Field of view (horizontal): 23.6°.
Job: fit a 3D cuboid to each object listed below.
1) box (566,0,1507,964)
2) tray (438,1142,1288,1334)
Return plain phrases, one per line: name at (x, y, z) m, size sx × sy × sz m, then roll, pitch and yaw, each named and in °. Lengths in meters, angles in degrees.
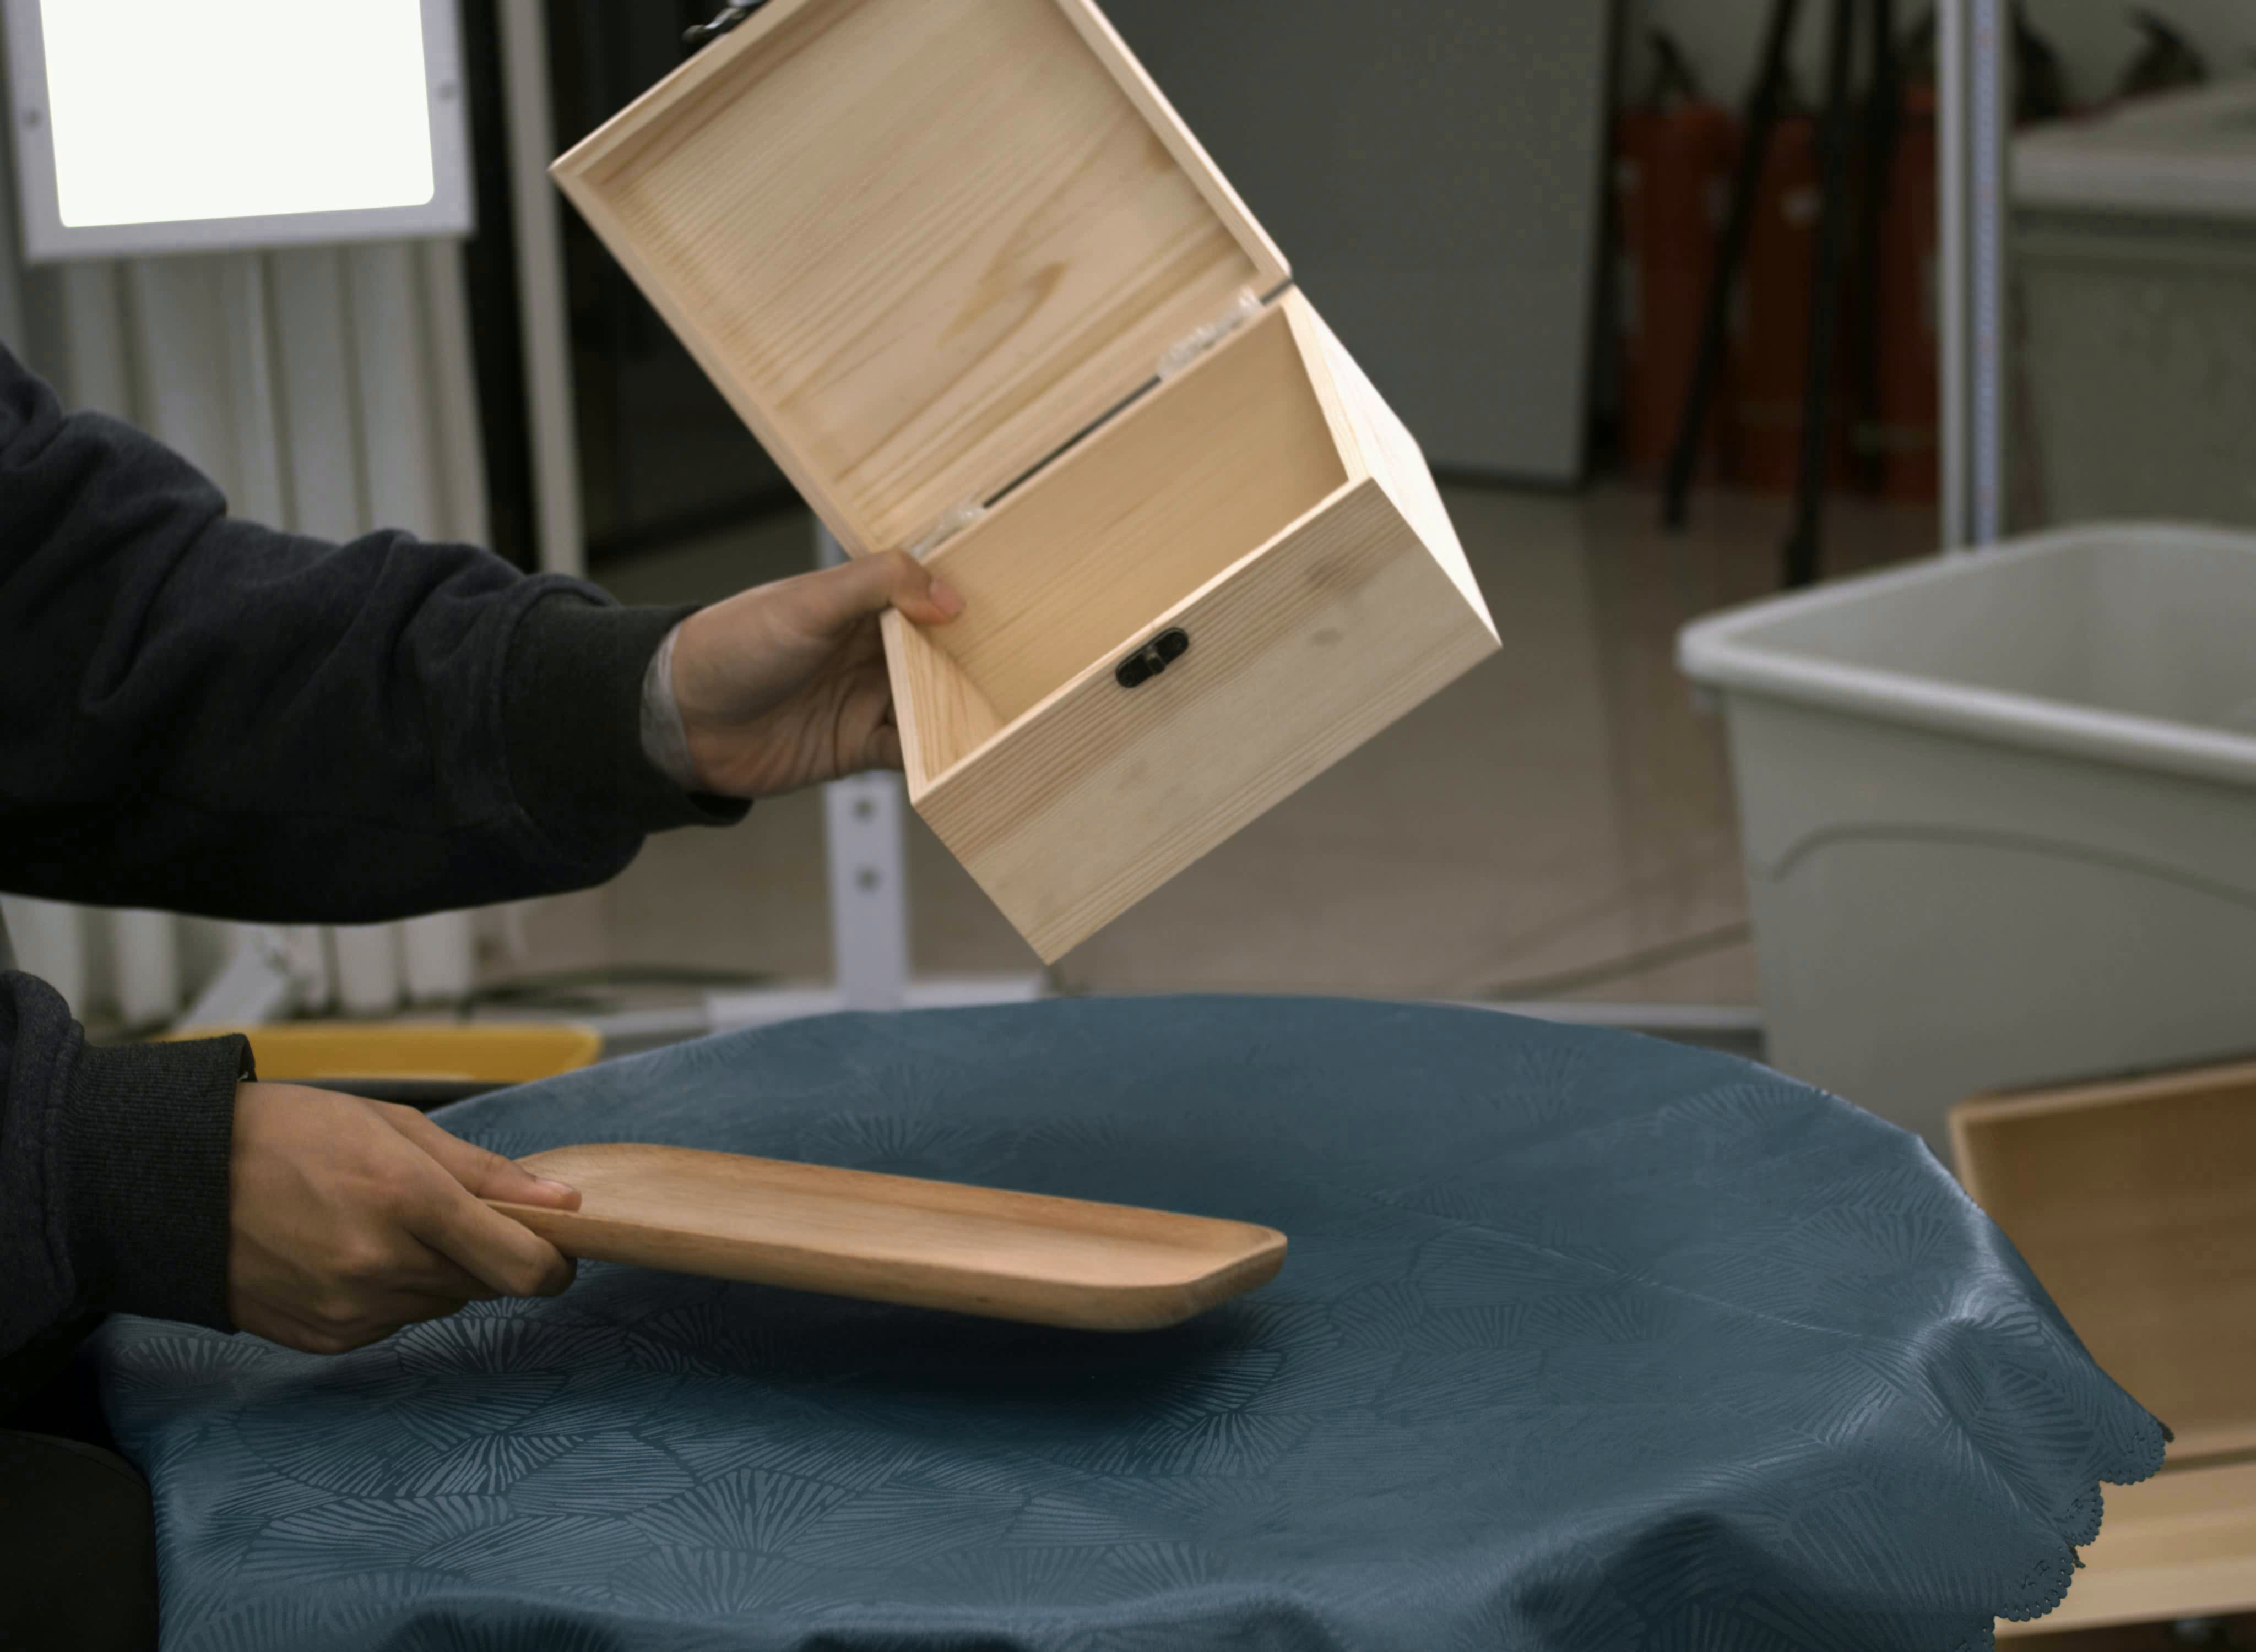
box at (-0.037, -0.145, 1.773) m, size 0.182 × 0.252 × 0.266 m, roll -37°, pitch 20°, yaw 10°
tray at (-0.081, 0.124, 1.638) m, size 0.251 × 0.023 × 0.129 m, roll 5°, pitch 3°, yaw 25°
